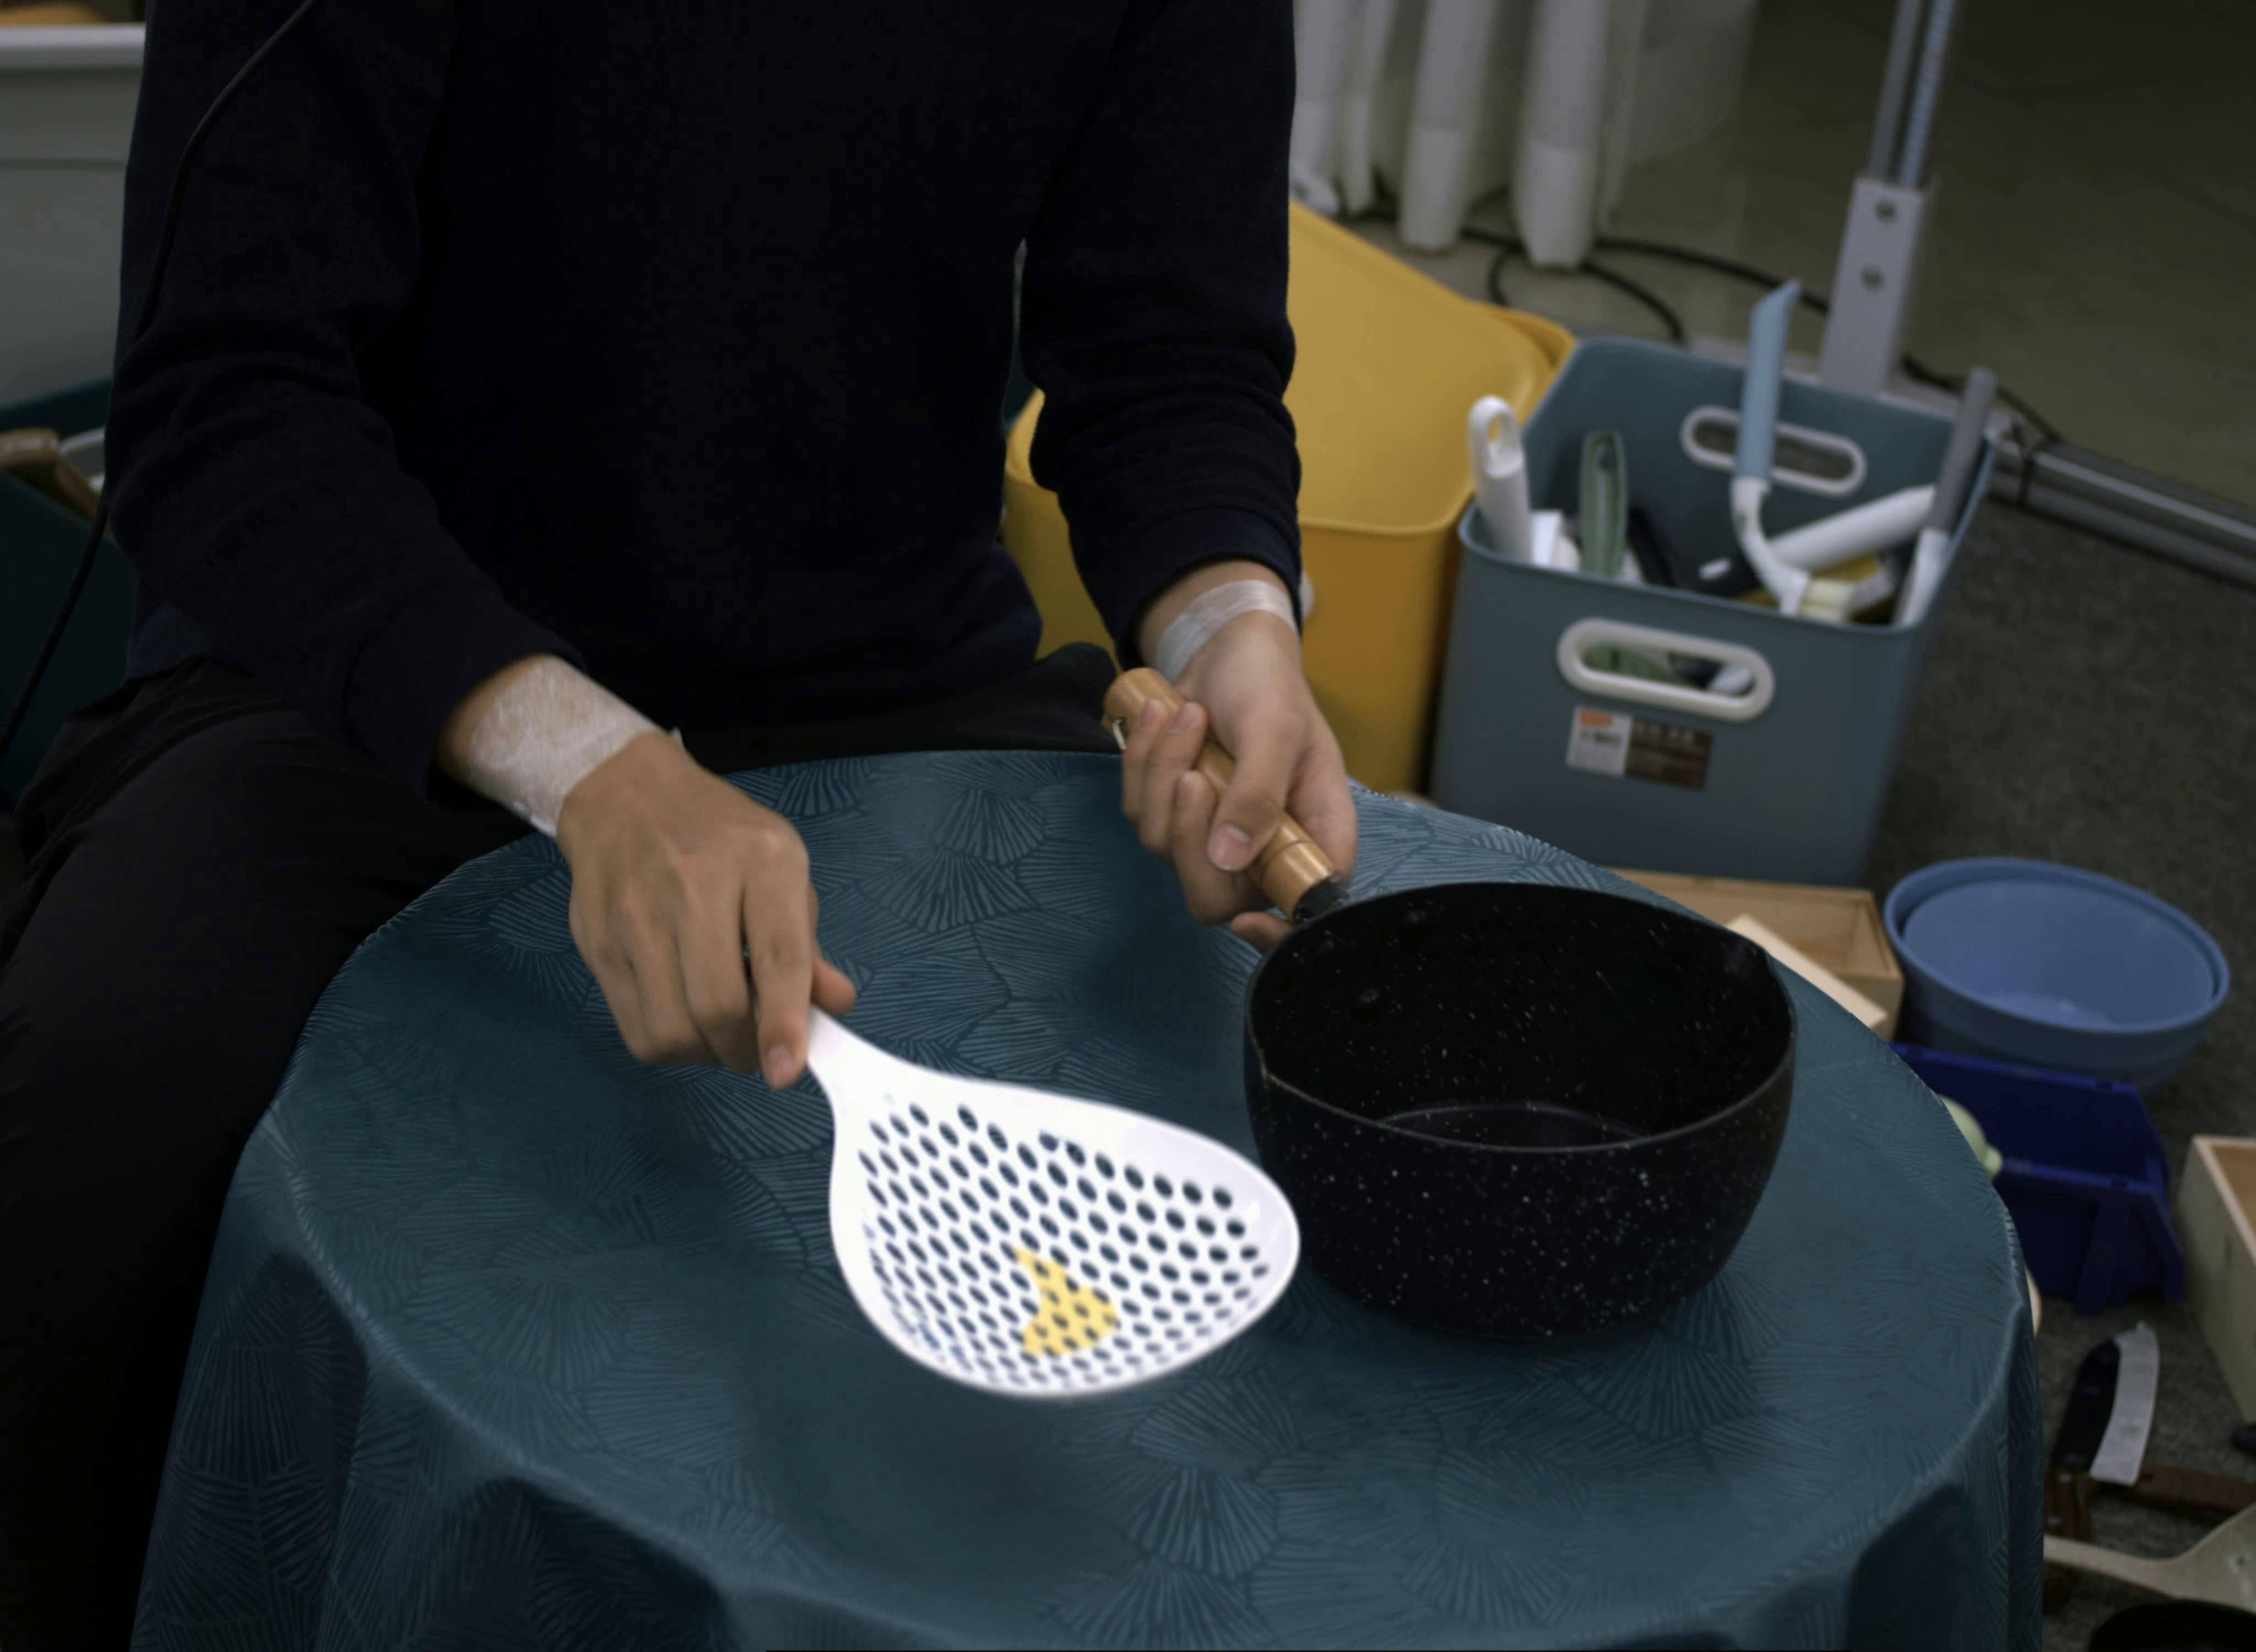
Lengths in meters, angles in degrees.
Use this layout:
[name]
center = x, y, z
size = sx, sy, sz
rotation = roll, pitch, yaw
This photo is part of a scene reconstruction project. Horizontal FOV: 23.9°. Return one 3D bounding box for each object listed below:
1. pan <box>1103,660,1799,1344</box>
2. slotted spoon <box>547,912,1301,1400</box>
[pan]
center = 0.086, 0.056, 1.832
size = 0.206, 0.108, 0.346
rotation = -17, 33, -28
[slotted spoon]
center = -0.083, 0.091, 1.701
size = 0.136, 0.050, 0.351
rotation = -27, 43, -27
